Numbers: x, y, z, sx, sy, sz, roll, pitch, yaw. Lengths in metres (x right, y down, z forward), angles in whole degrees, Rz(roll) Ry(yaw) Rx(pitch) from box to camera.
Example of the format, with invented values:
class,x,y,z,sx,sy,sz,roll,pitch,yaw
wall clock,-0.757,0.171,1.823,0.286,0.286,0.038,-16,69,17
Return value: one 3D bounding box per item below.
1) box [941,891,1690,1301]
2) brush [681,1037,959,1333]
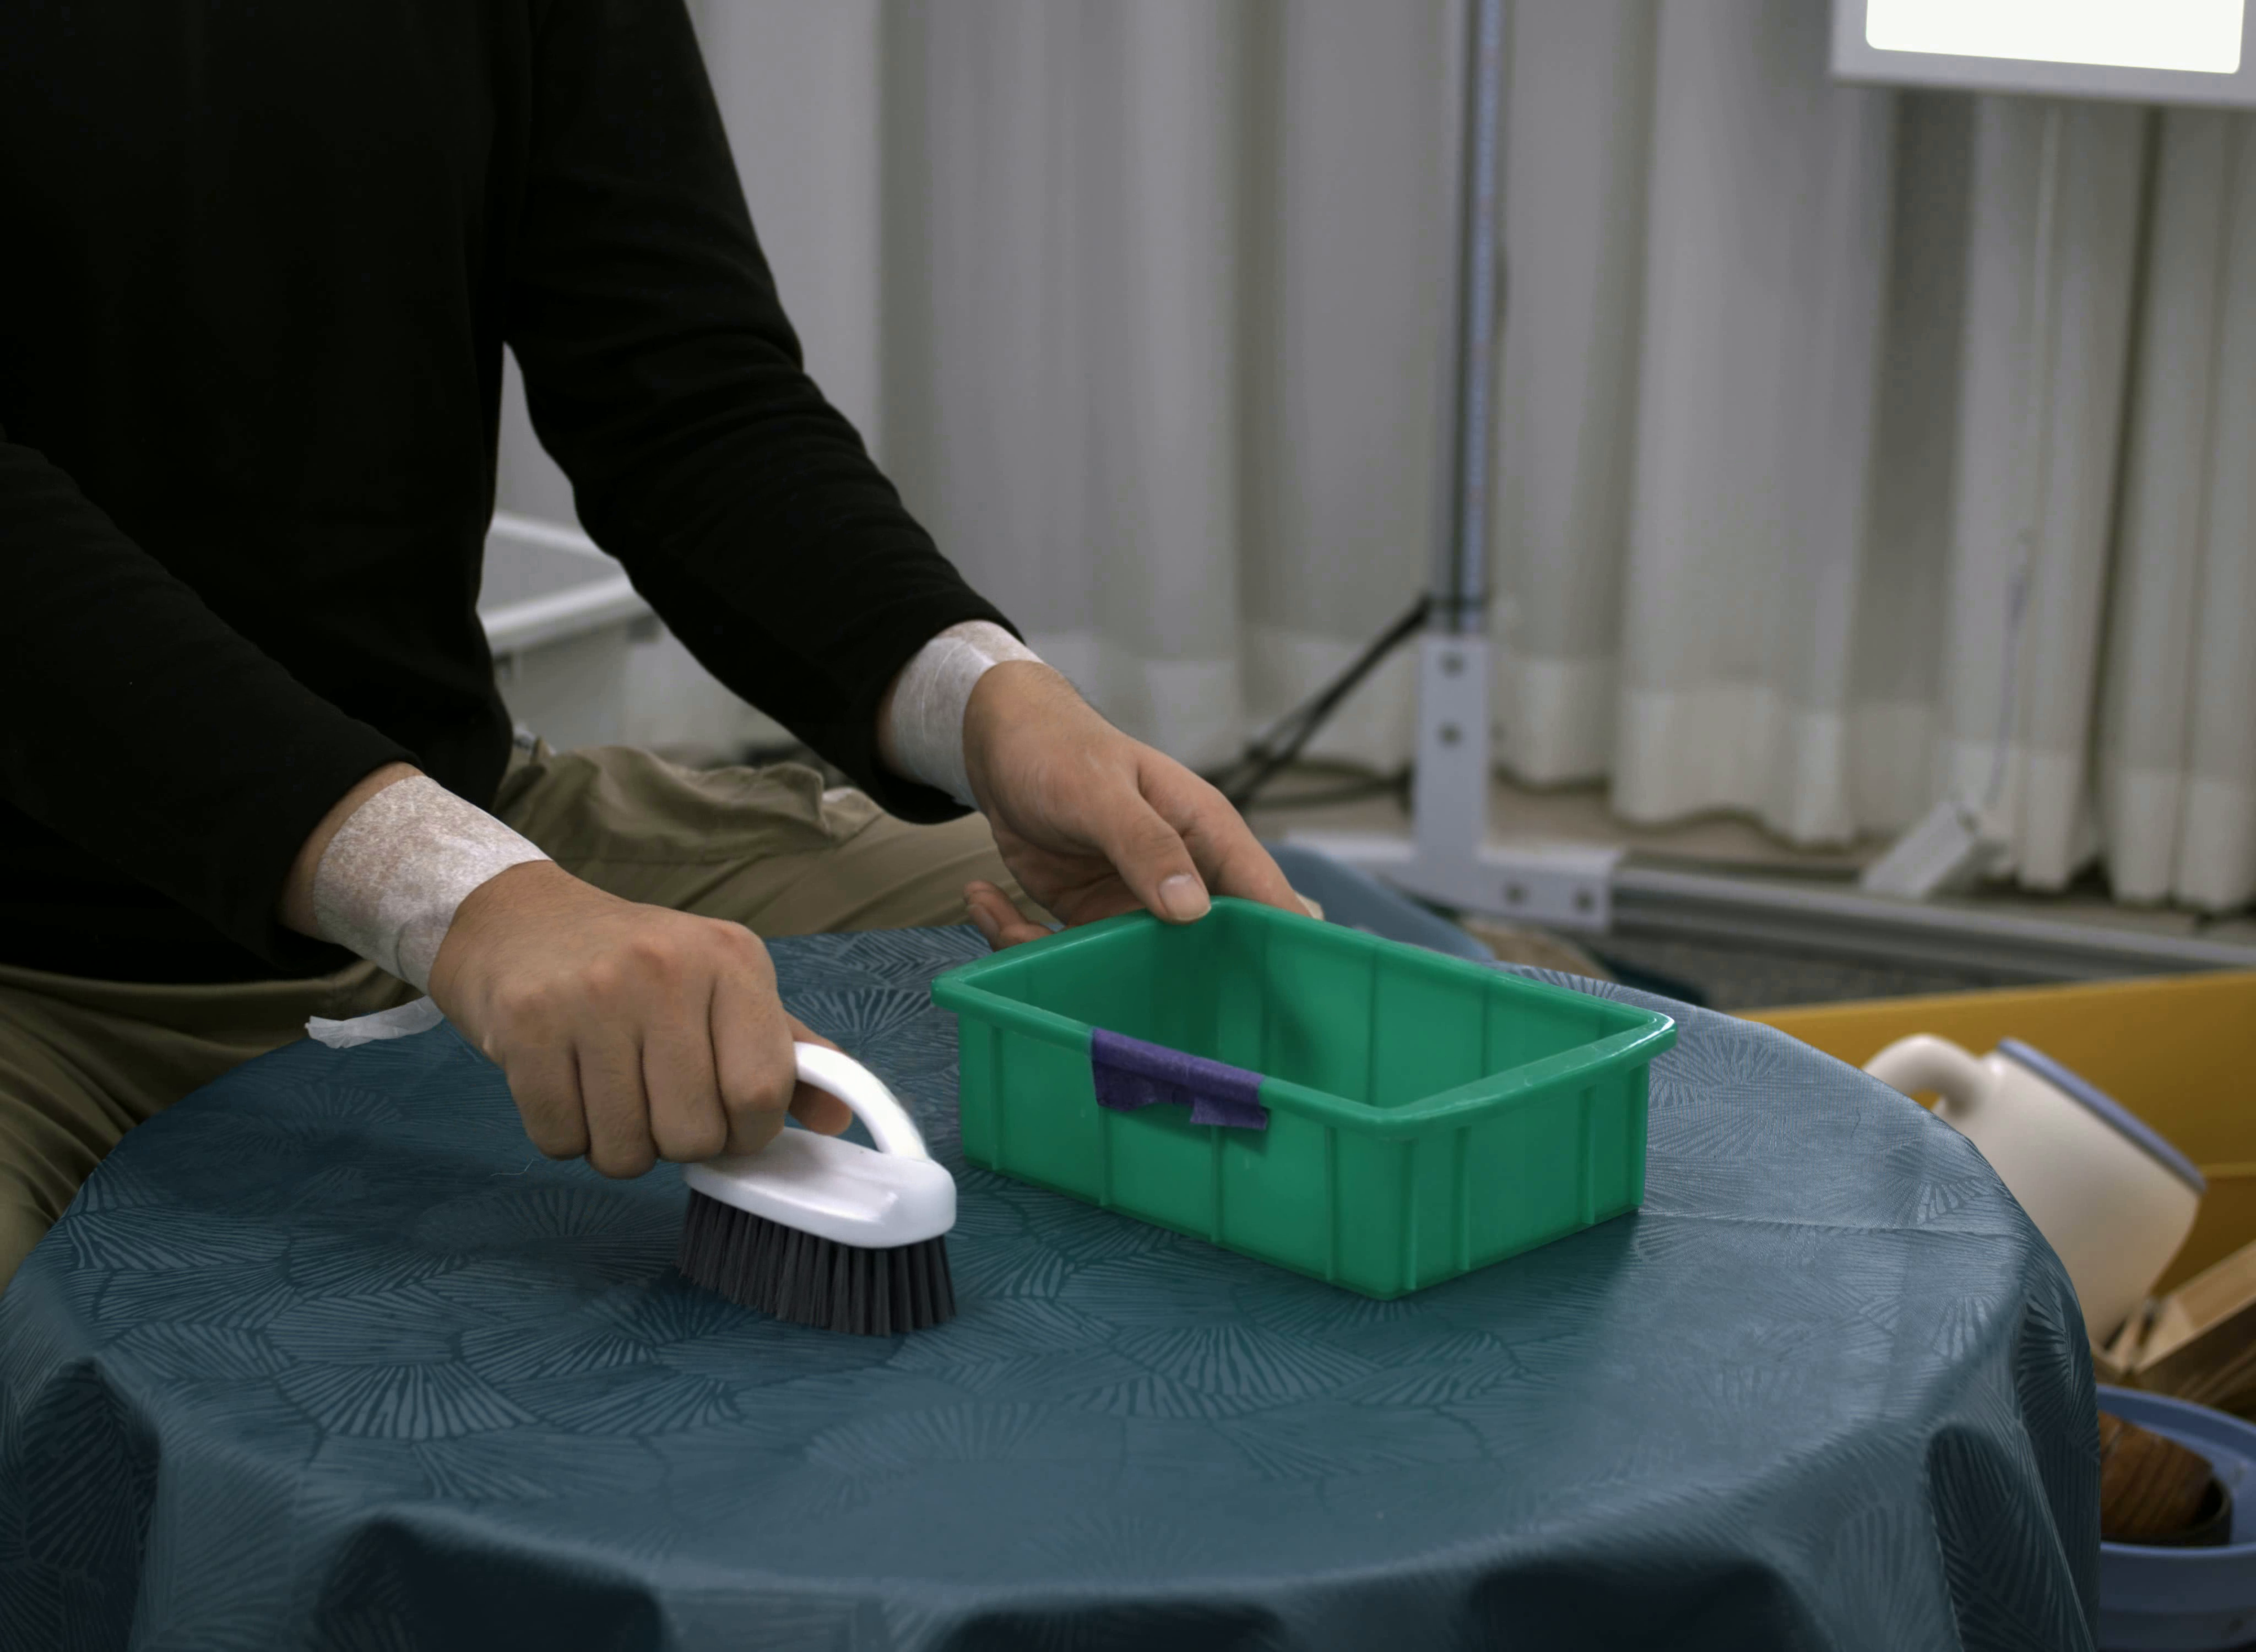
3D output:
class,x,y,z,sx,sy,sz,roll,pitch,yaw
box,0.056,0.082,1.617,0.207,0.066,0.139,15,24,40
brush,-0.091,0.099,1.528,0.050,0.073,0.098,-16,22,-41
